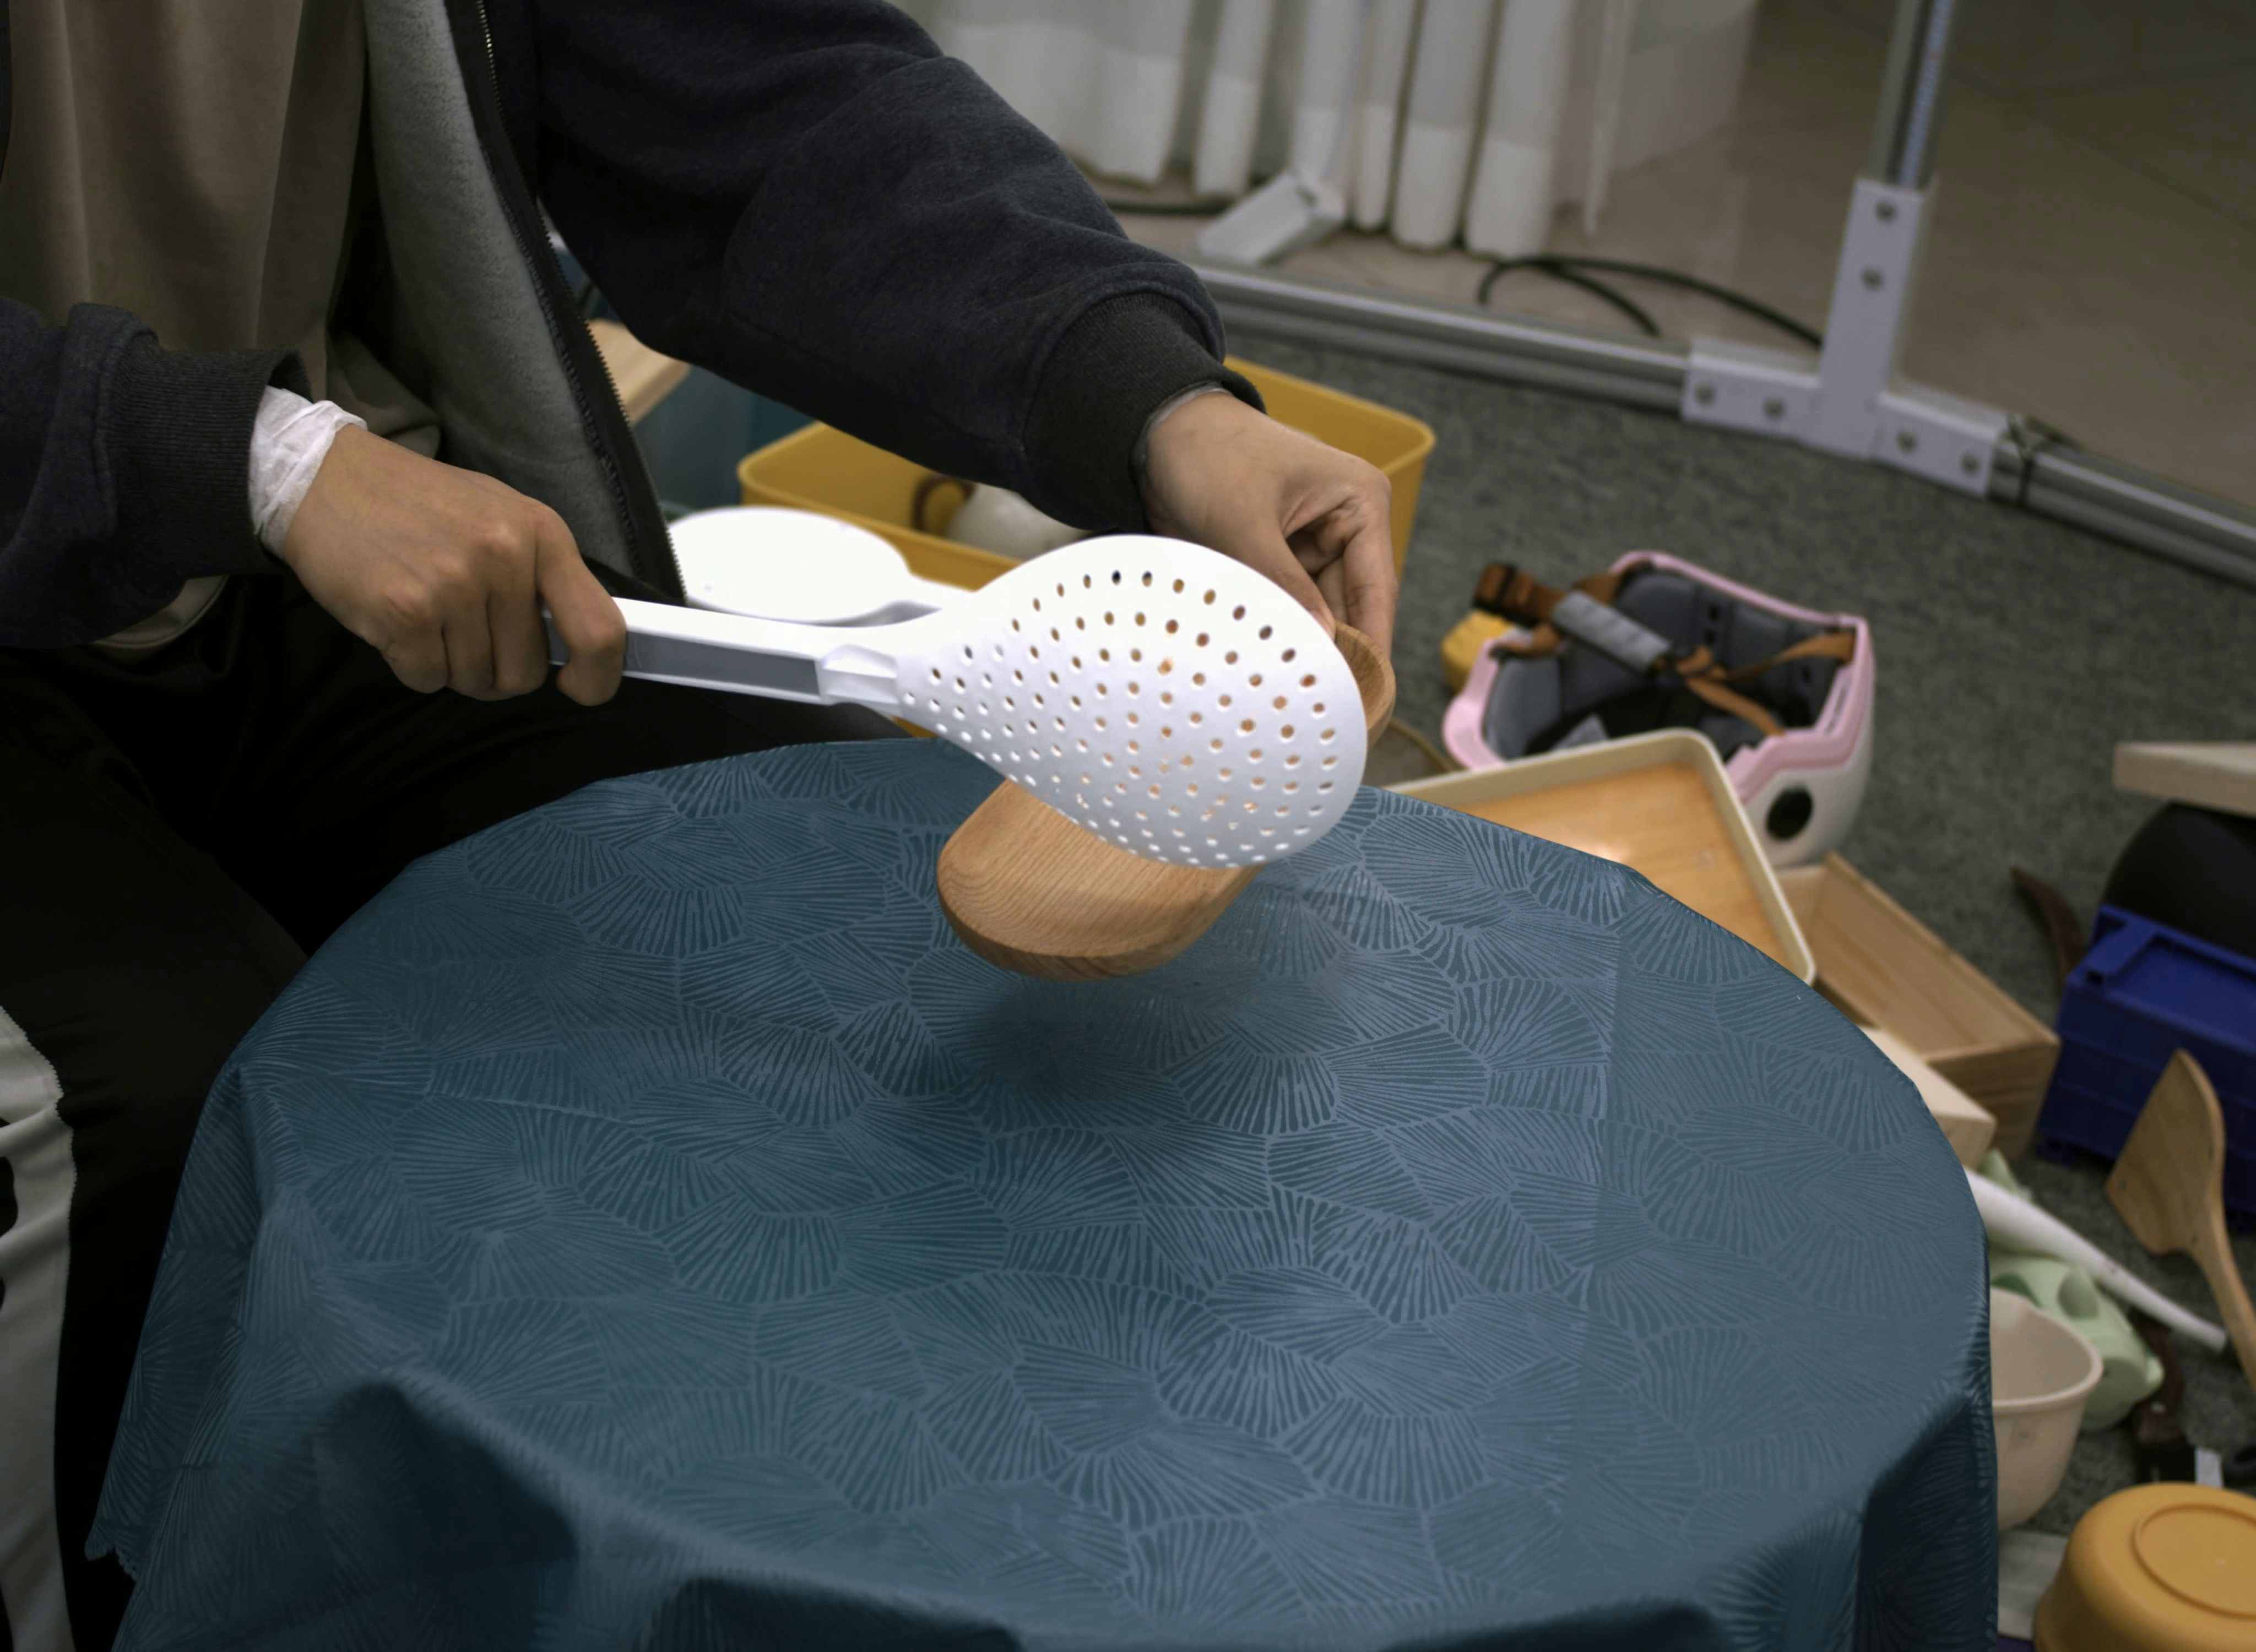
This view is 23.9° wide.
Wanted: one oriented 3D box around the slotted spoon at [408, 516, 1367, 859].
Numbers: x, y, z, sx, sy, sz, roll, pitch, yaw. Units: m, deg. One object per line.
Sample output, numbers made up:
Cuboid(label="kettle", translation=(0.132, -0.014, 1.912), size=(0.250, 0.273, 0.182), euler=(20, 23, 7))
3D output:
Cuboid(label="slotted spoon", translation=(-0.088, -0.056, 1.816), size=(0.351, 0.135, 0.046), euler=(11, 38, 23))

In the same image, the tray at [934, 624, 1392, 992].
Cuboid(label="tray", translation=(0.015, -0.010, 1.890), size=(0.102, 0.020, 0.231), euler=(15, 40, 24))
